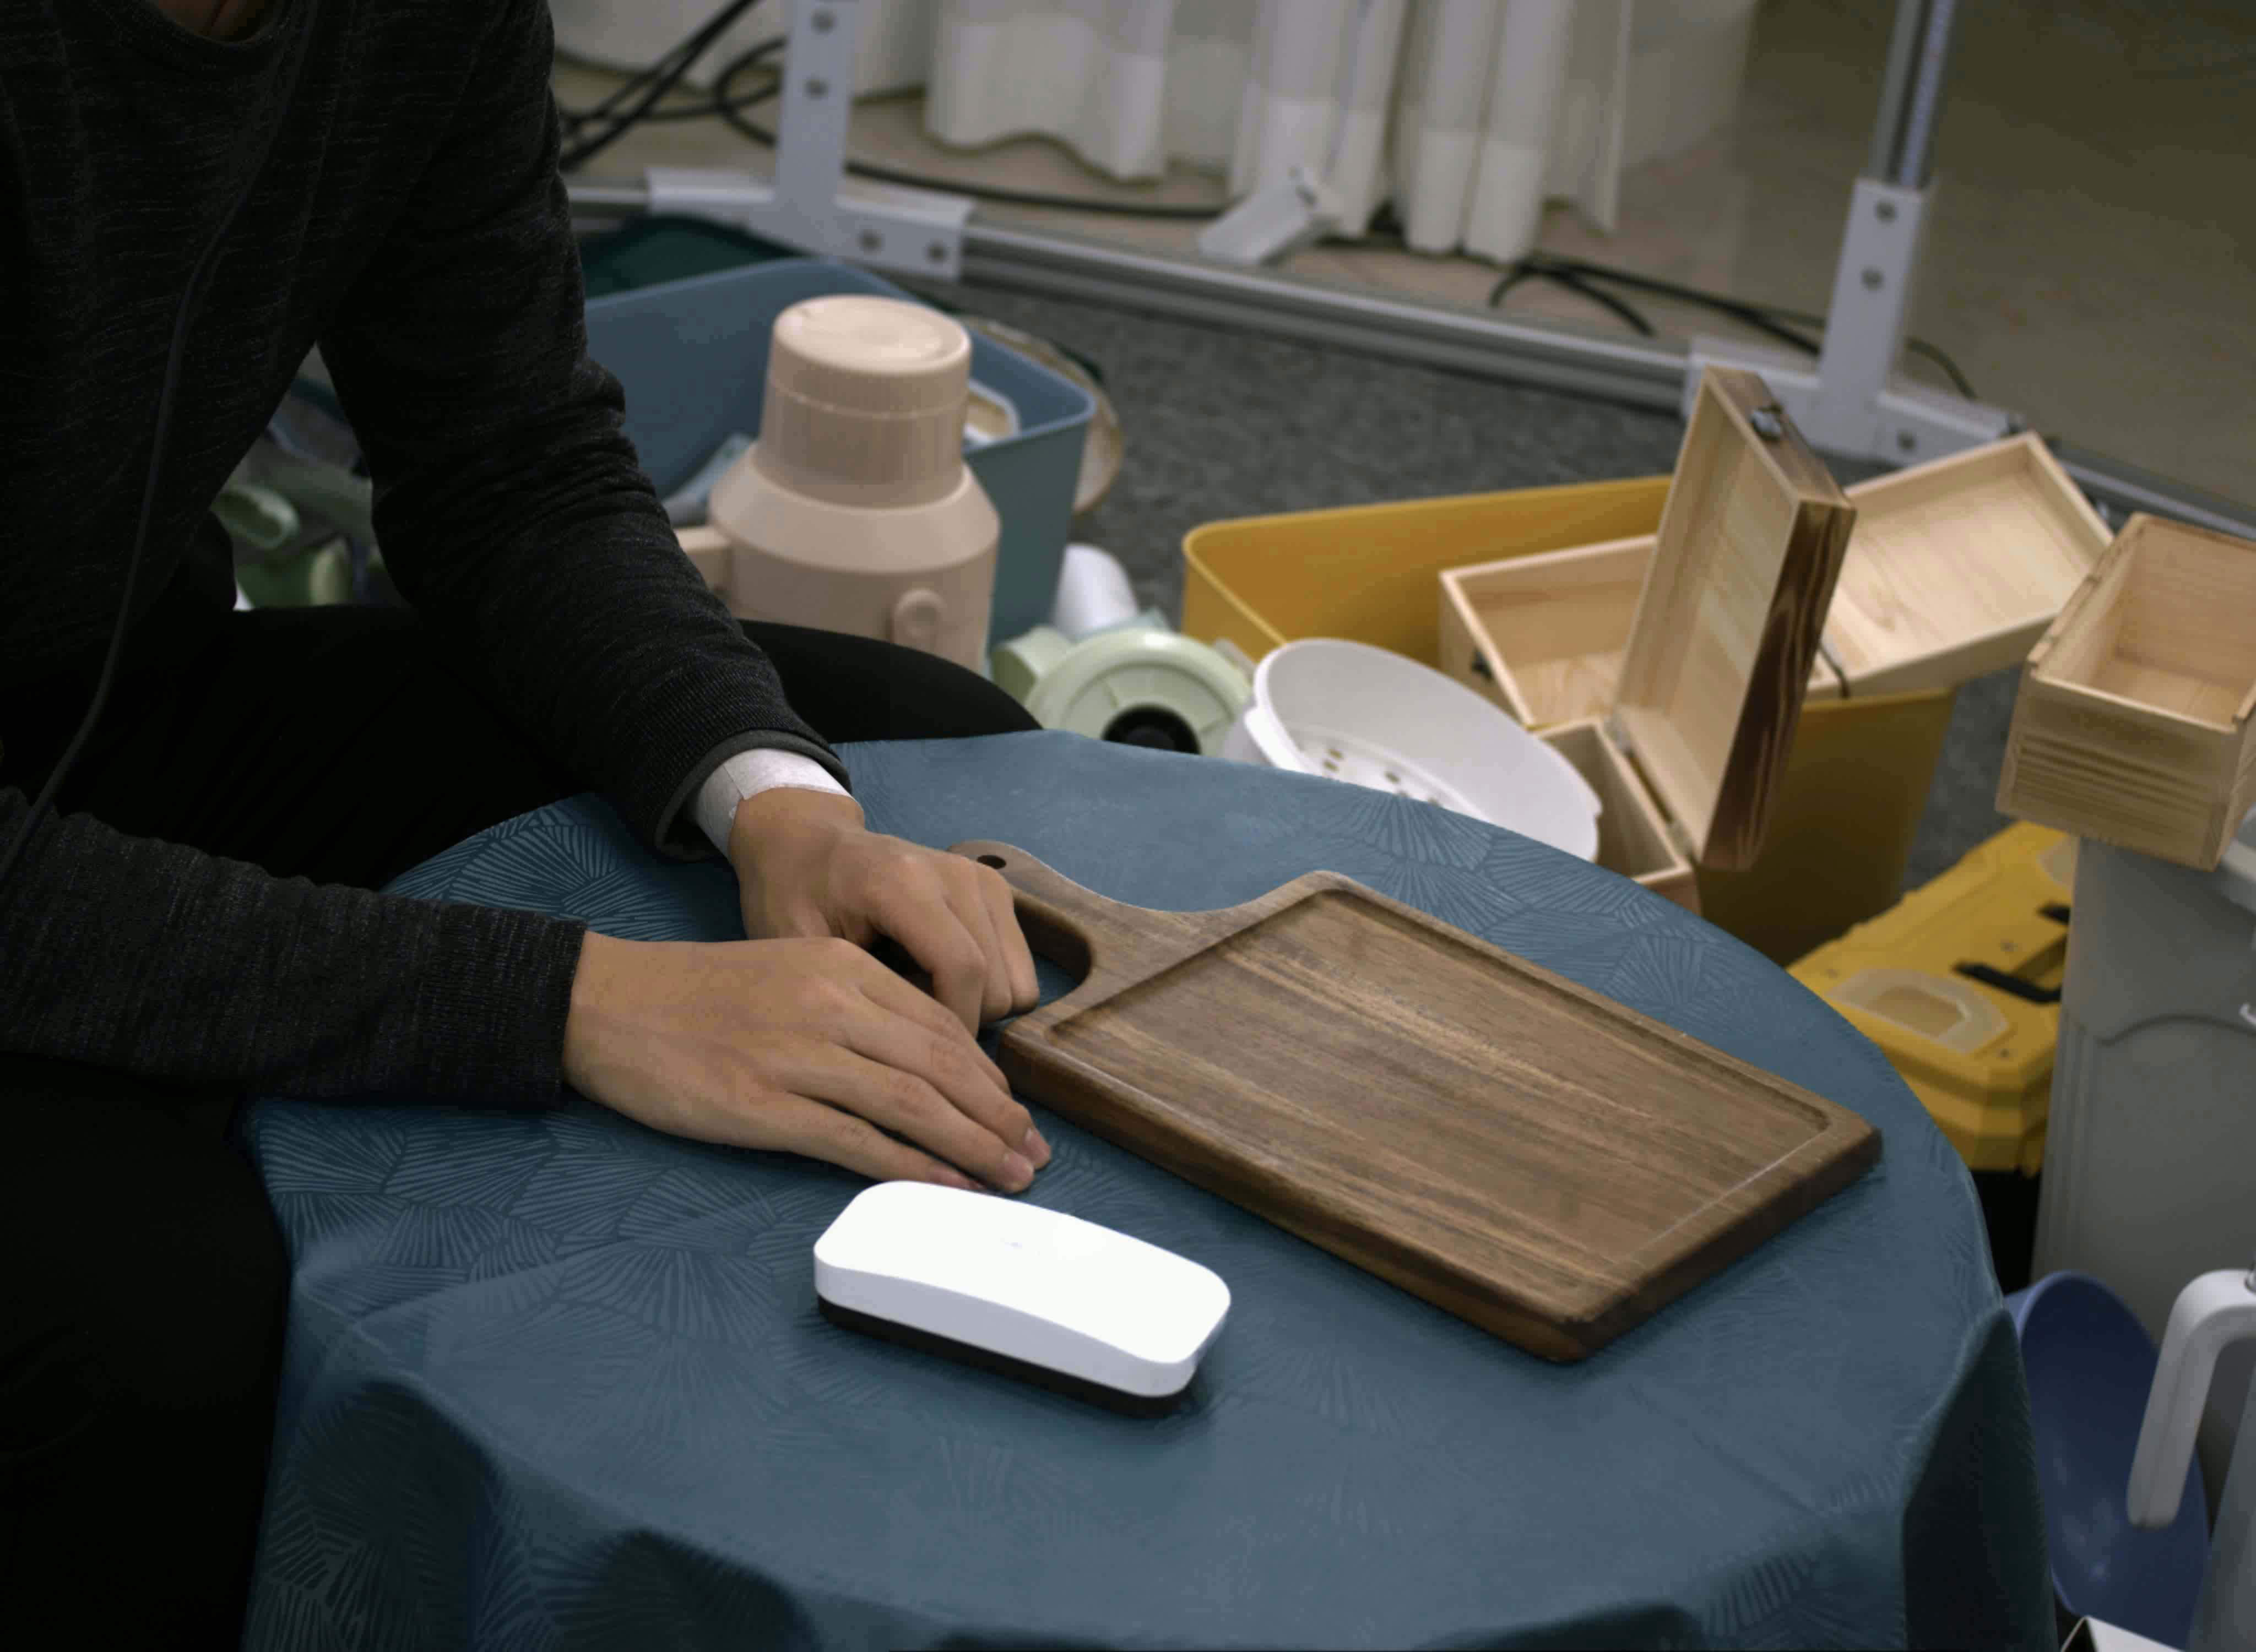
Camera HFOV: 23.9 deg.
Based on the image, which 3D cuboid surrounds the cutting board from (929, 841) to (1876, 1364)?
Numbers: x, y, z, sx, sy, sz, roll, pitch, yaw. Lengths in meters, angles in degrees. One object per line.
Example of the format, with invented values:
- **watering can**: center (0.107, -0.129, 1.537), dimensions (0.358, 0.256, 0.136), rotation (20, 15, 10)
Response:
- **cutting board**: center (0.070, 0.078, 1.884), dimensions (0.354, 0.023, 0.200), rotation (25, 32, 32)

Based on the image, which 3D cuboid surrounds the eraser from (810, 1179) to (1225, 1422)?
- **eraser**: center (-0.036, 0.149, 1.710), dimensions (0.131, 0.034, 0.063), rotation (17, 30, 17)
